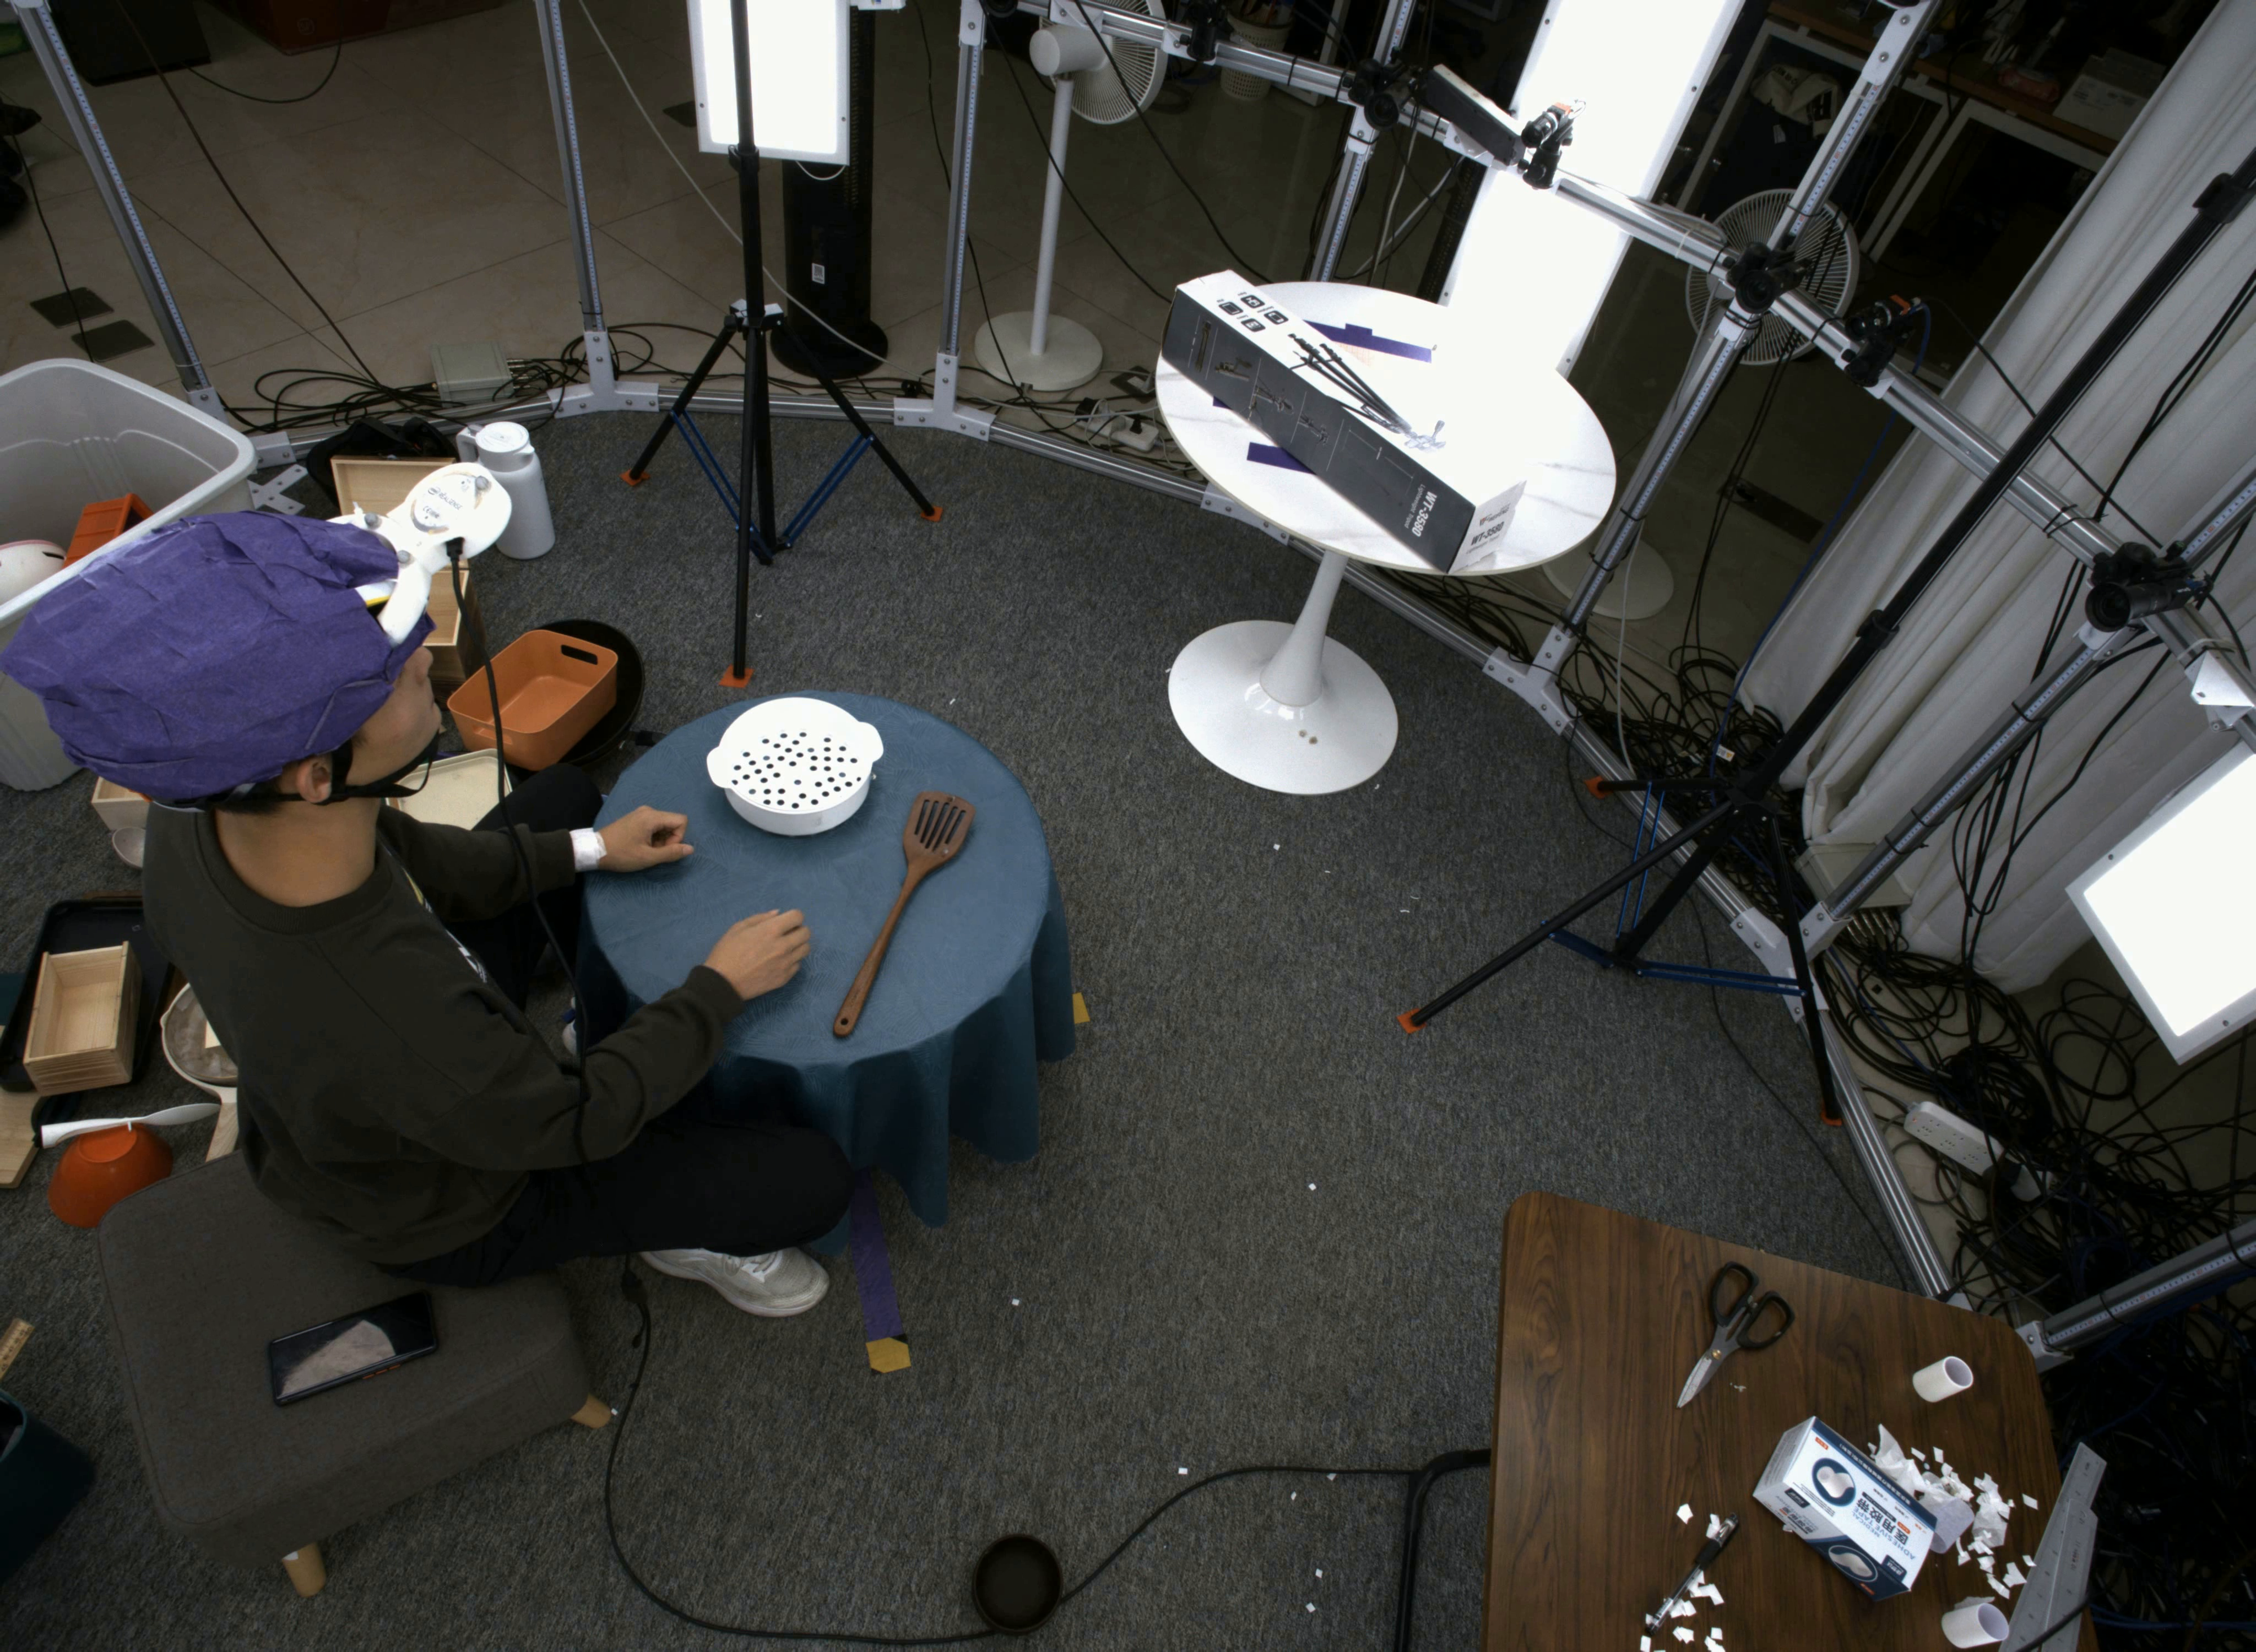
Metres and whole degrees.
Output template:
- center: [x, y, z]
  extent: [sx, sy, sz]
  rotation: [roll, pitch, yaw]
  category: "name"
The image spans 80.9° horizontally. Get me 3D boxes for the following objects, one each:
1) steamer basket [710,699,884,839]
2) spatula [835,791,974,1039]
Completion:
- center: [-0.442, -0.078, 1.749]
  extent: [0.231, 0.071, 0.196]
  rotation: [-14, 57, -19]
  category: "steamer basket"
- center: [-0.295, 0.107, 1.675]
  extent: [0.085, 0.024, 0.381]
  rotation: [17, 53, 2]
  category: "spatula"
